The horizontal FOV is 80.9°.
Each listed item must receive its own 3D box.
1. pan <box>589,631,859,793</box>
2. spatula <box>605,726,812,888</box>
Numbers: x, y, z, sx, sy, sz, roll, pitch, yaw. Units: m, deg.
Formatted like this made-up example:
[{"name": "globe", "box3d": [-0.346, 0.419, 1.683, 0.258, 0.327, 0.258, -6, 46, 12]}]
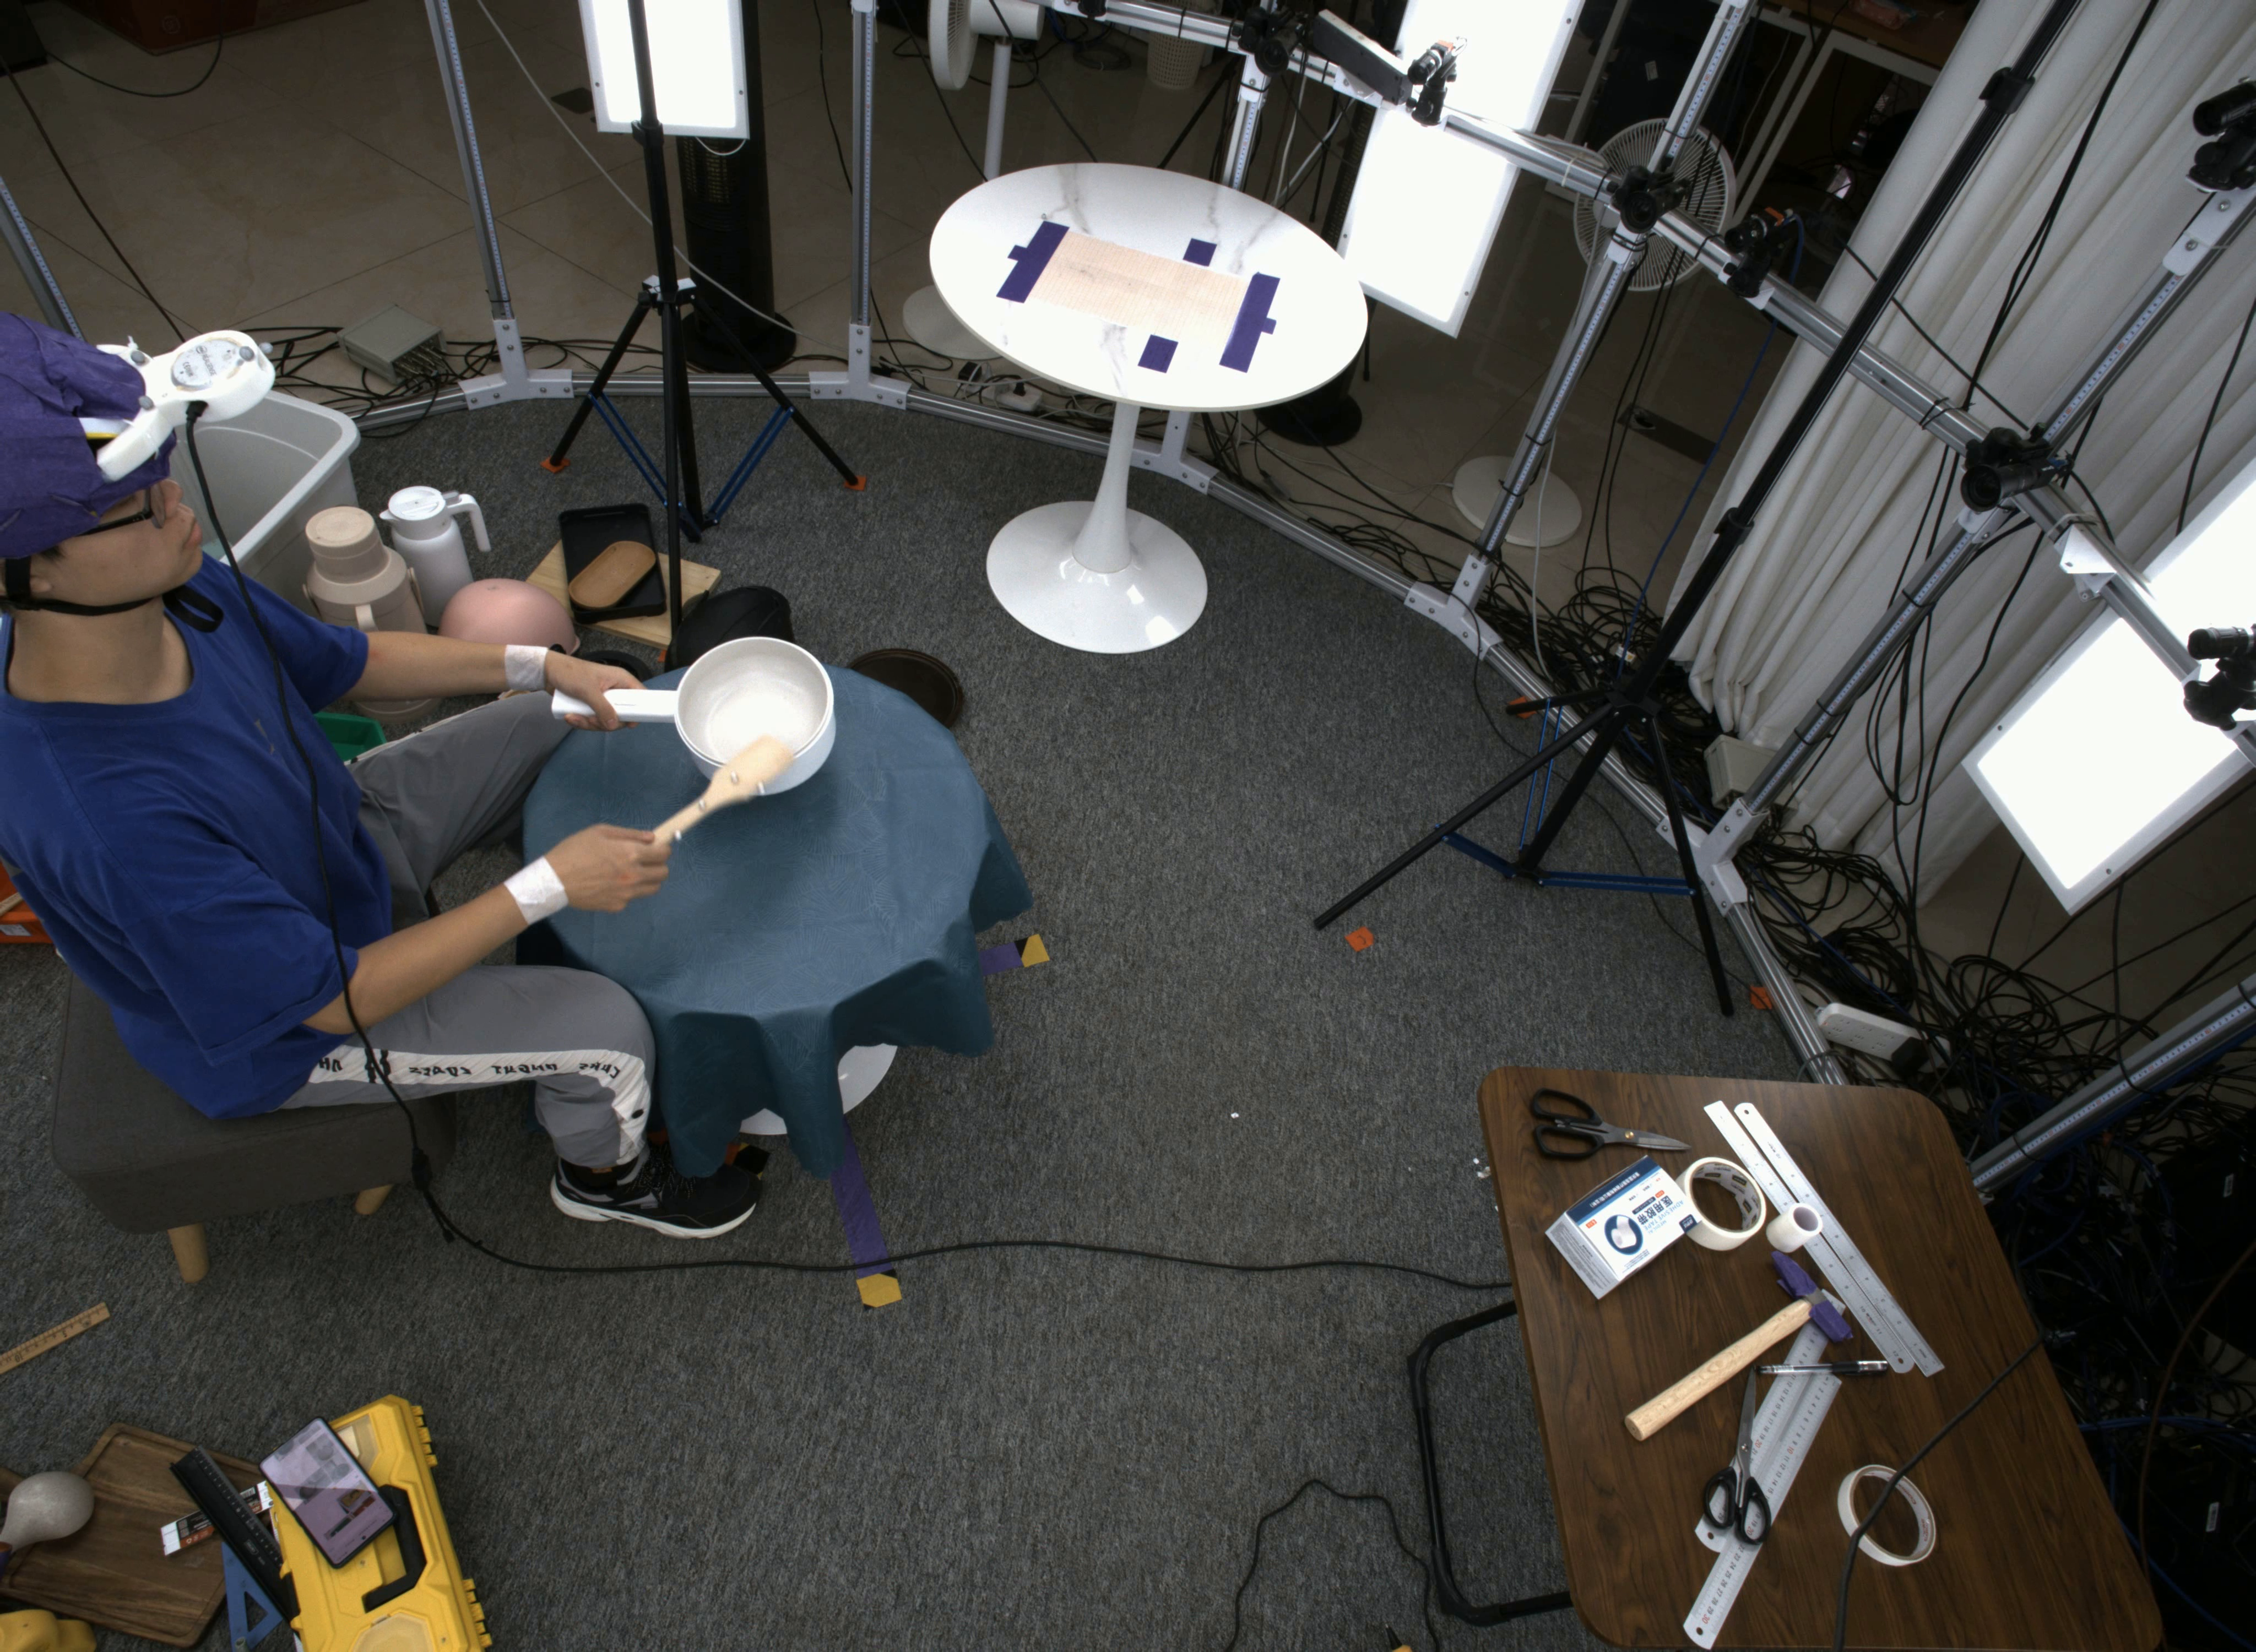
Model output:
[{"name": "pan", "box3d": [-0.530, -0.147, 1.697, 0.353, 0.103, 0.199, 2, 67, -7]}, {"name": "spatula", "box3d": [-0.503, -0.023, 1.535, 0.069, 0.011, 0.293, 30, 60, 34]}]
